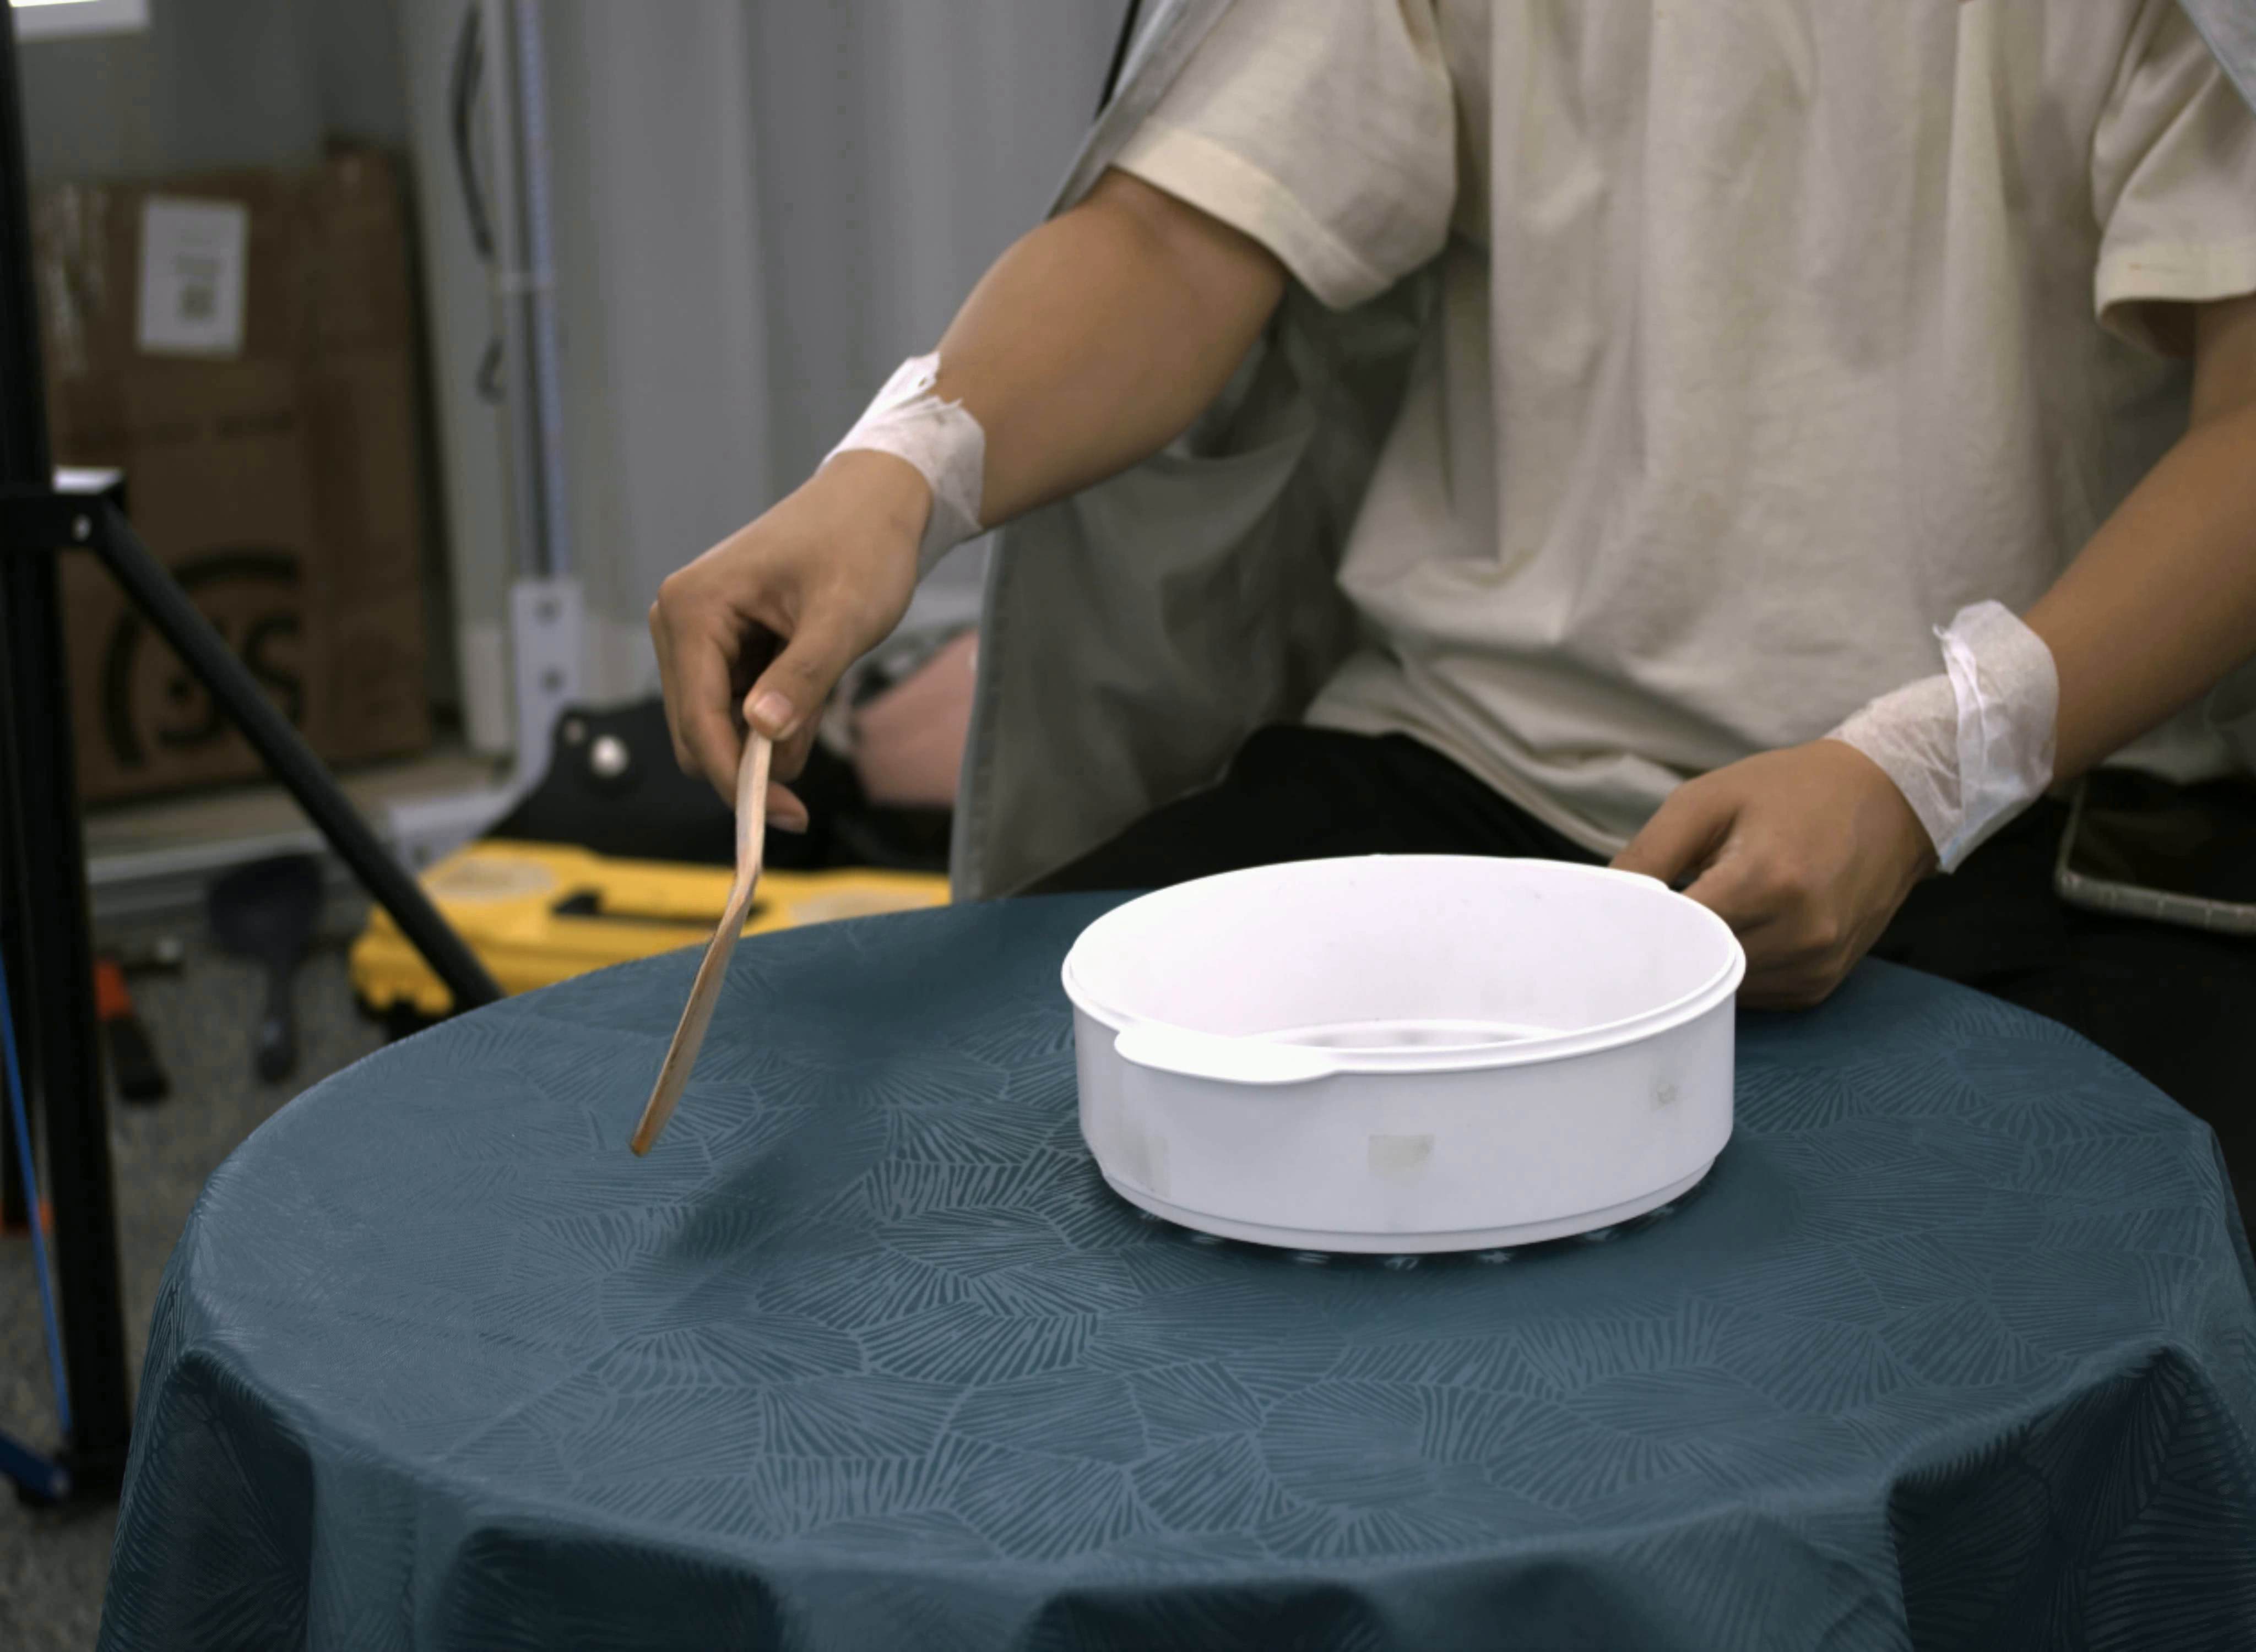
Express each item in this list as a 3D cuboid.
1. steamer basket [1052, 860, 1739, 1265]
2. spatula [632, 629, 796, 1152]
[{"bbox_3d":[0.078,0.069,1.559,0.206,0.069,0.226,10,19,34],"label":"steamer basket"},{"bbox_3d":[-0.122,0.002,1.653,0.016,0.080,0.329,19,21,-8],"label":"spatula"}]
